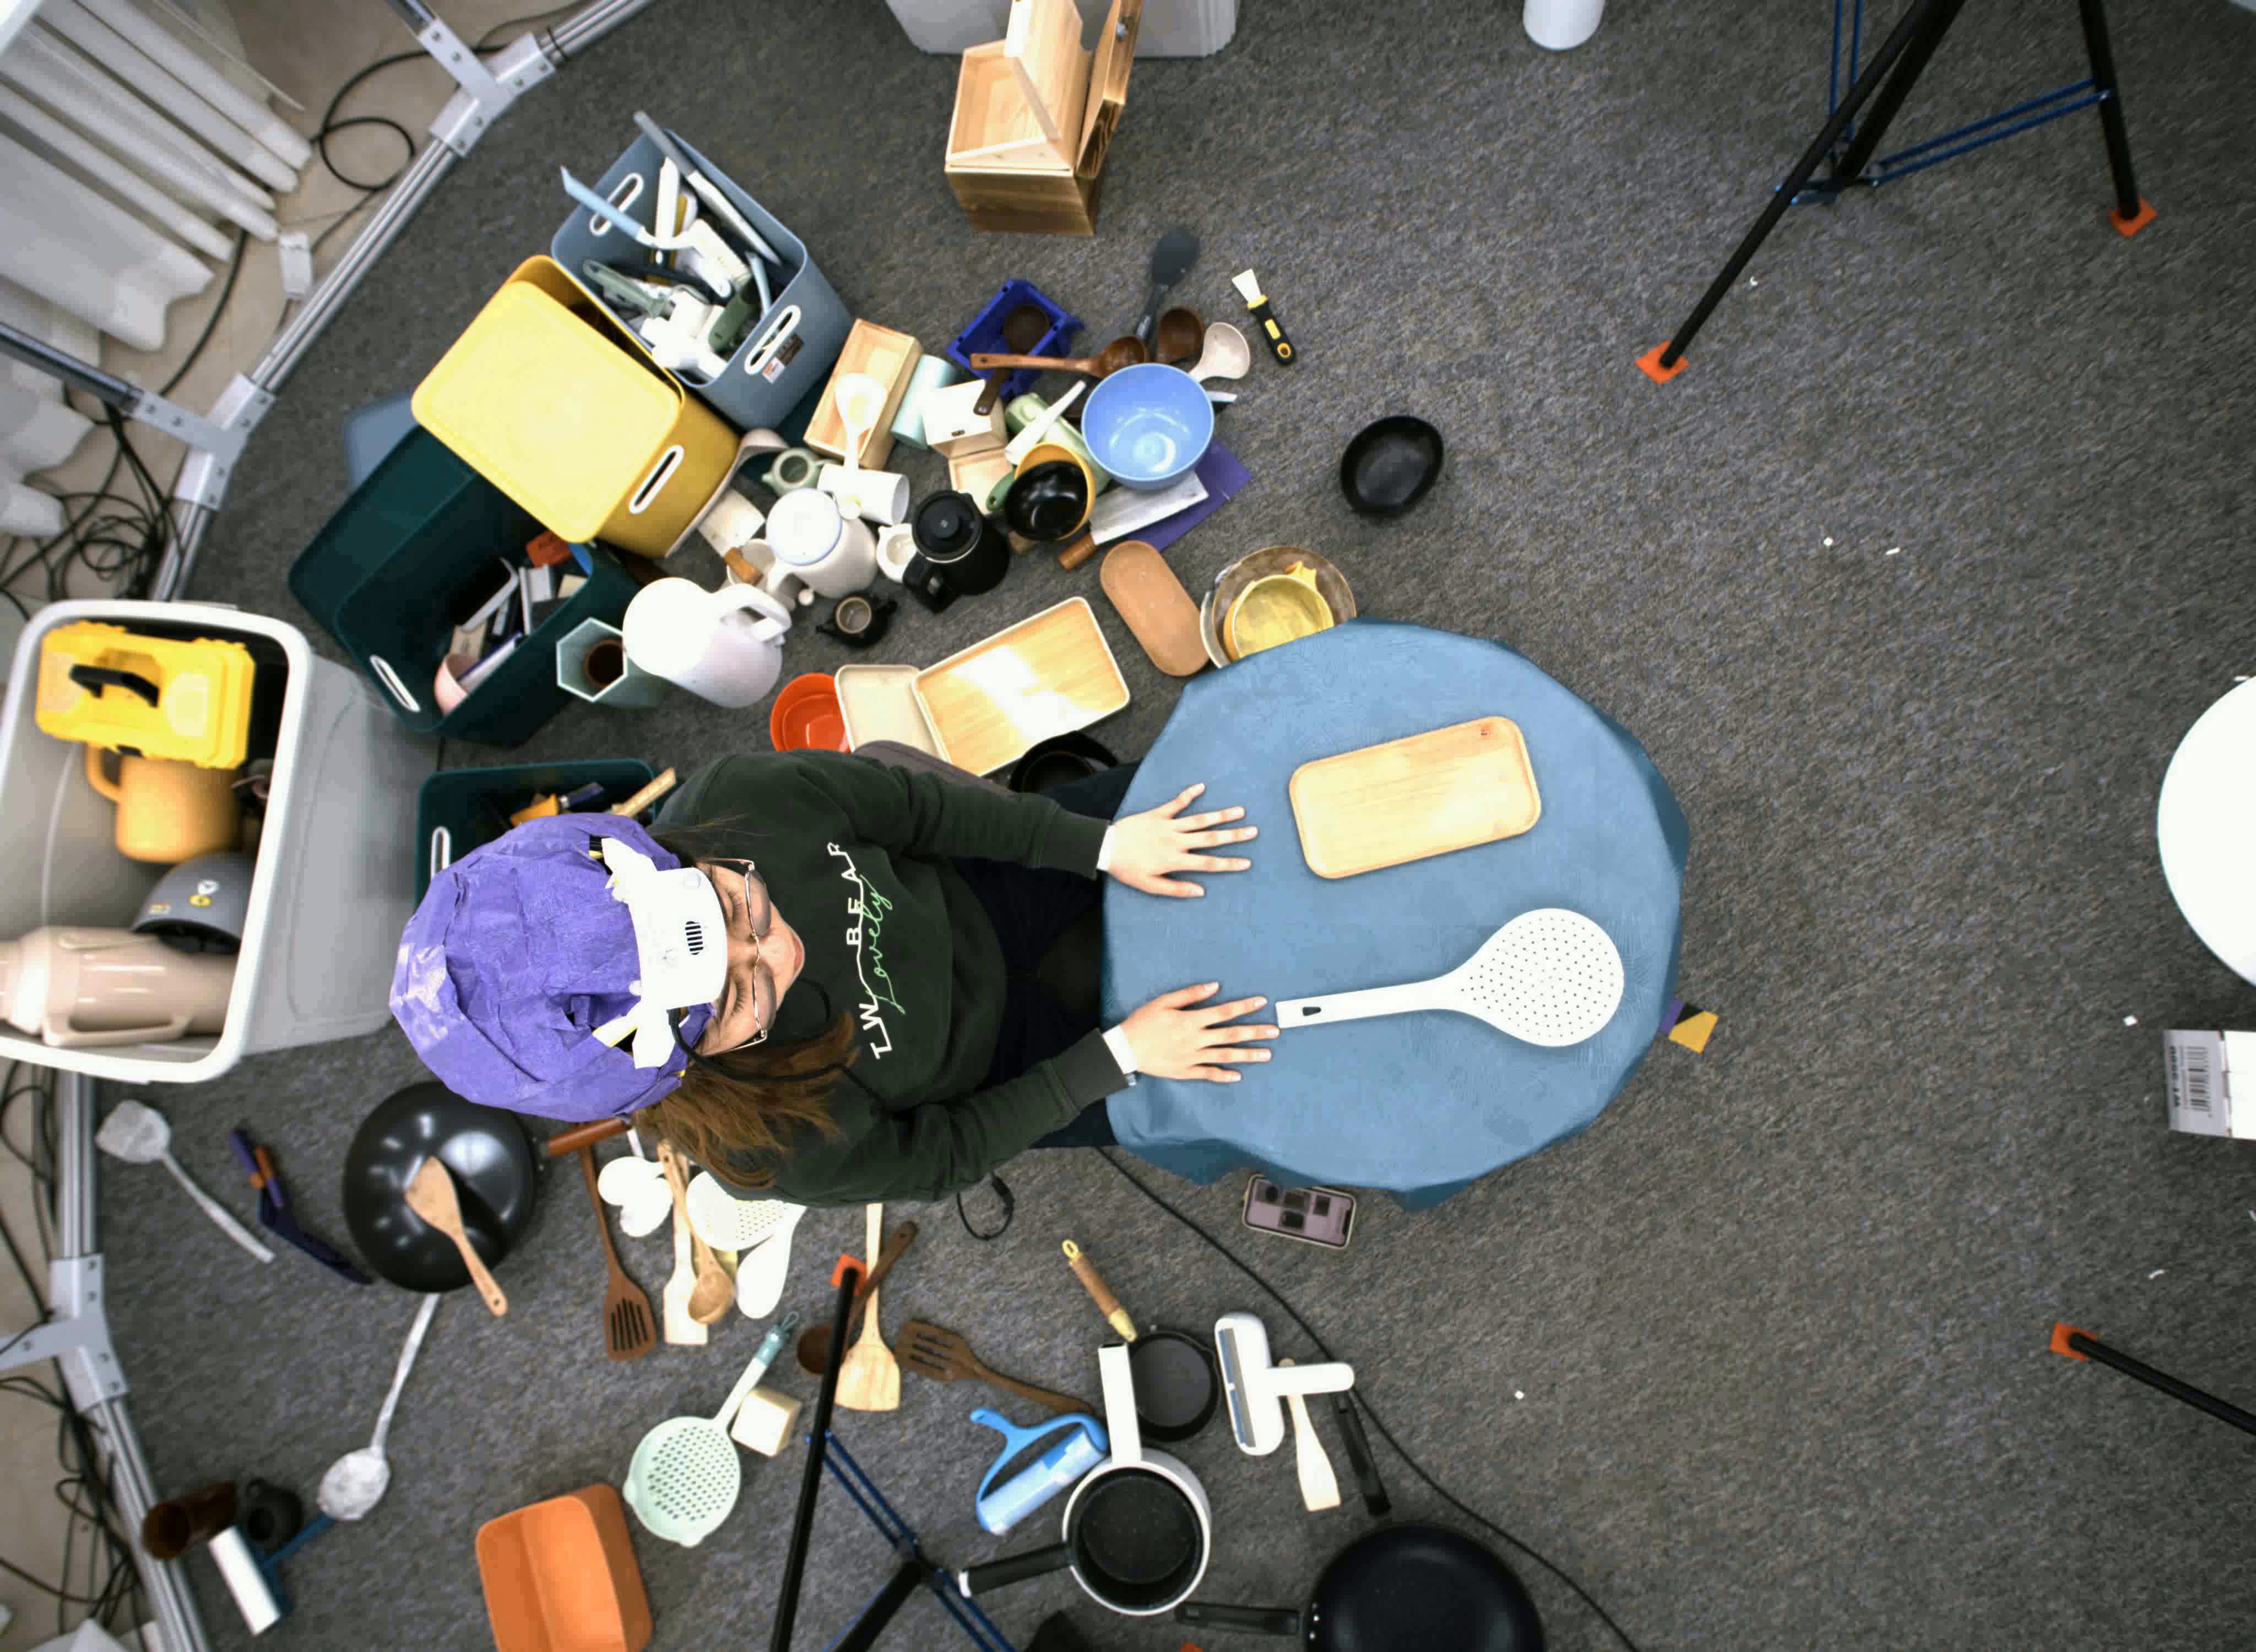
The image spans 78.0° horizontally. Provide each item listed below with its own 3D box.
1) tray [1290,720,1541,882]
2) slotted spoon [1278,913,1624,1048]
[{"bbox_3d":[0.302,-0.027,1.457,0.252,0.023,0.129,-14,82,10],"label":"tray"},{"bbox_3d":[0.328,0.172,1.424,0.351,0.046,0.135,-9,82,10],"label":"slotted spoon"}]
